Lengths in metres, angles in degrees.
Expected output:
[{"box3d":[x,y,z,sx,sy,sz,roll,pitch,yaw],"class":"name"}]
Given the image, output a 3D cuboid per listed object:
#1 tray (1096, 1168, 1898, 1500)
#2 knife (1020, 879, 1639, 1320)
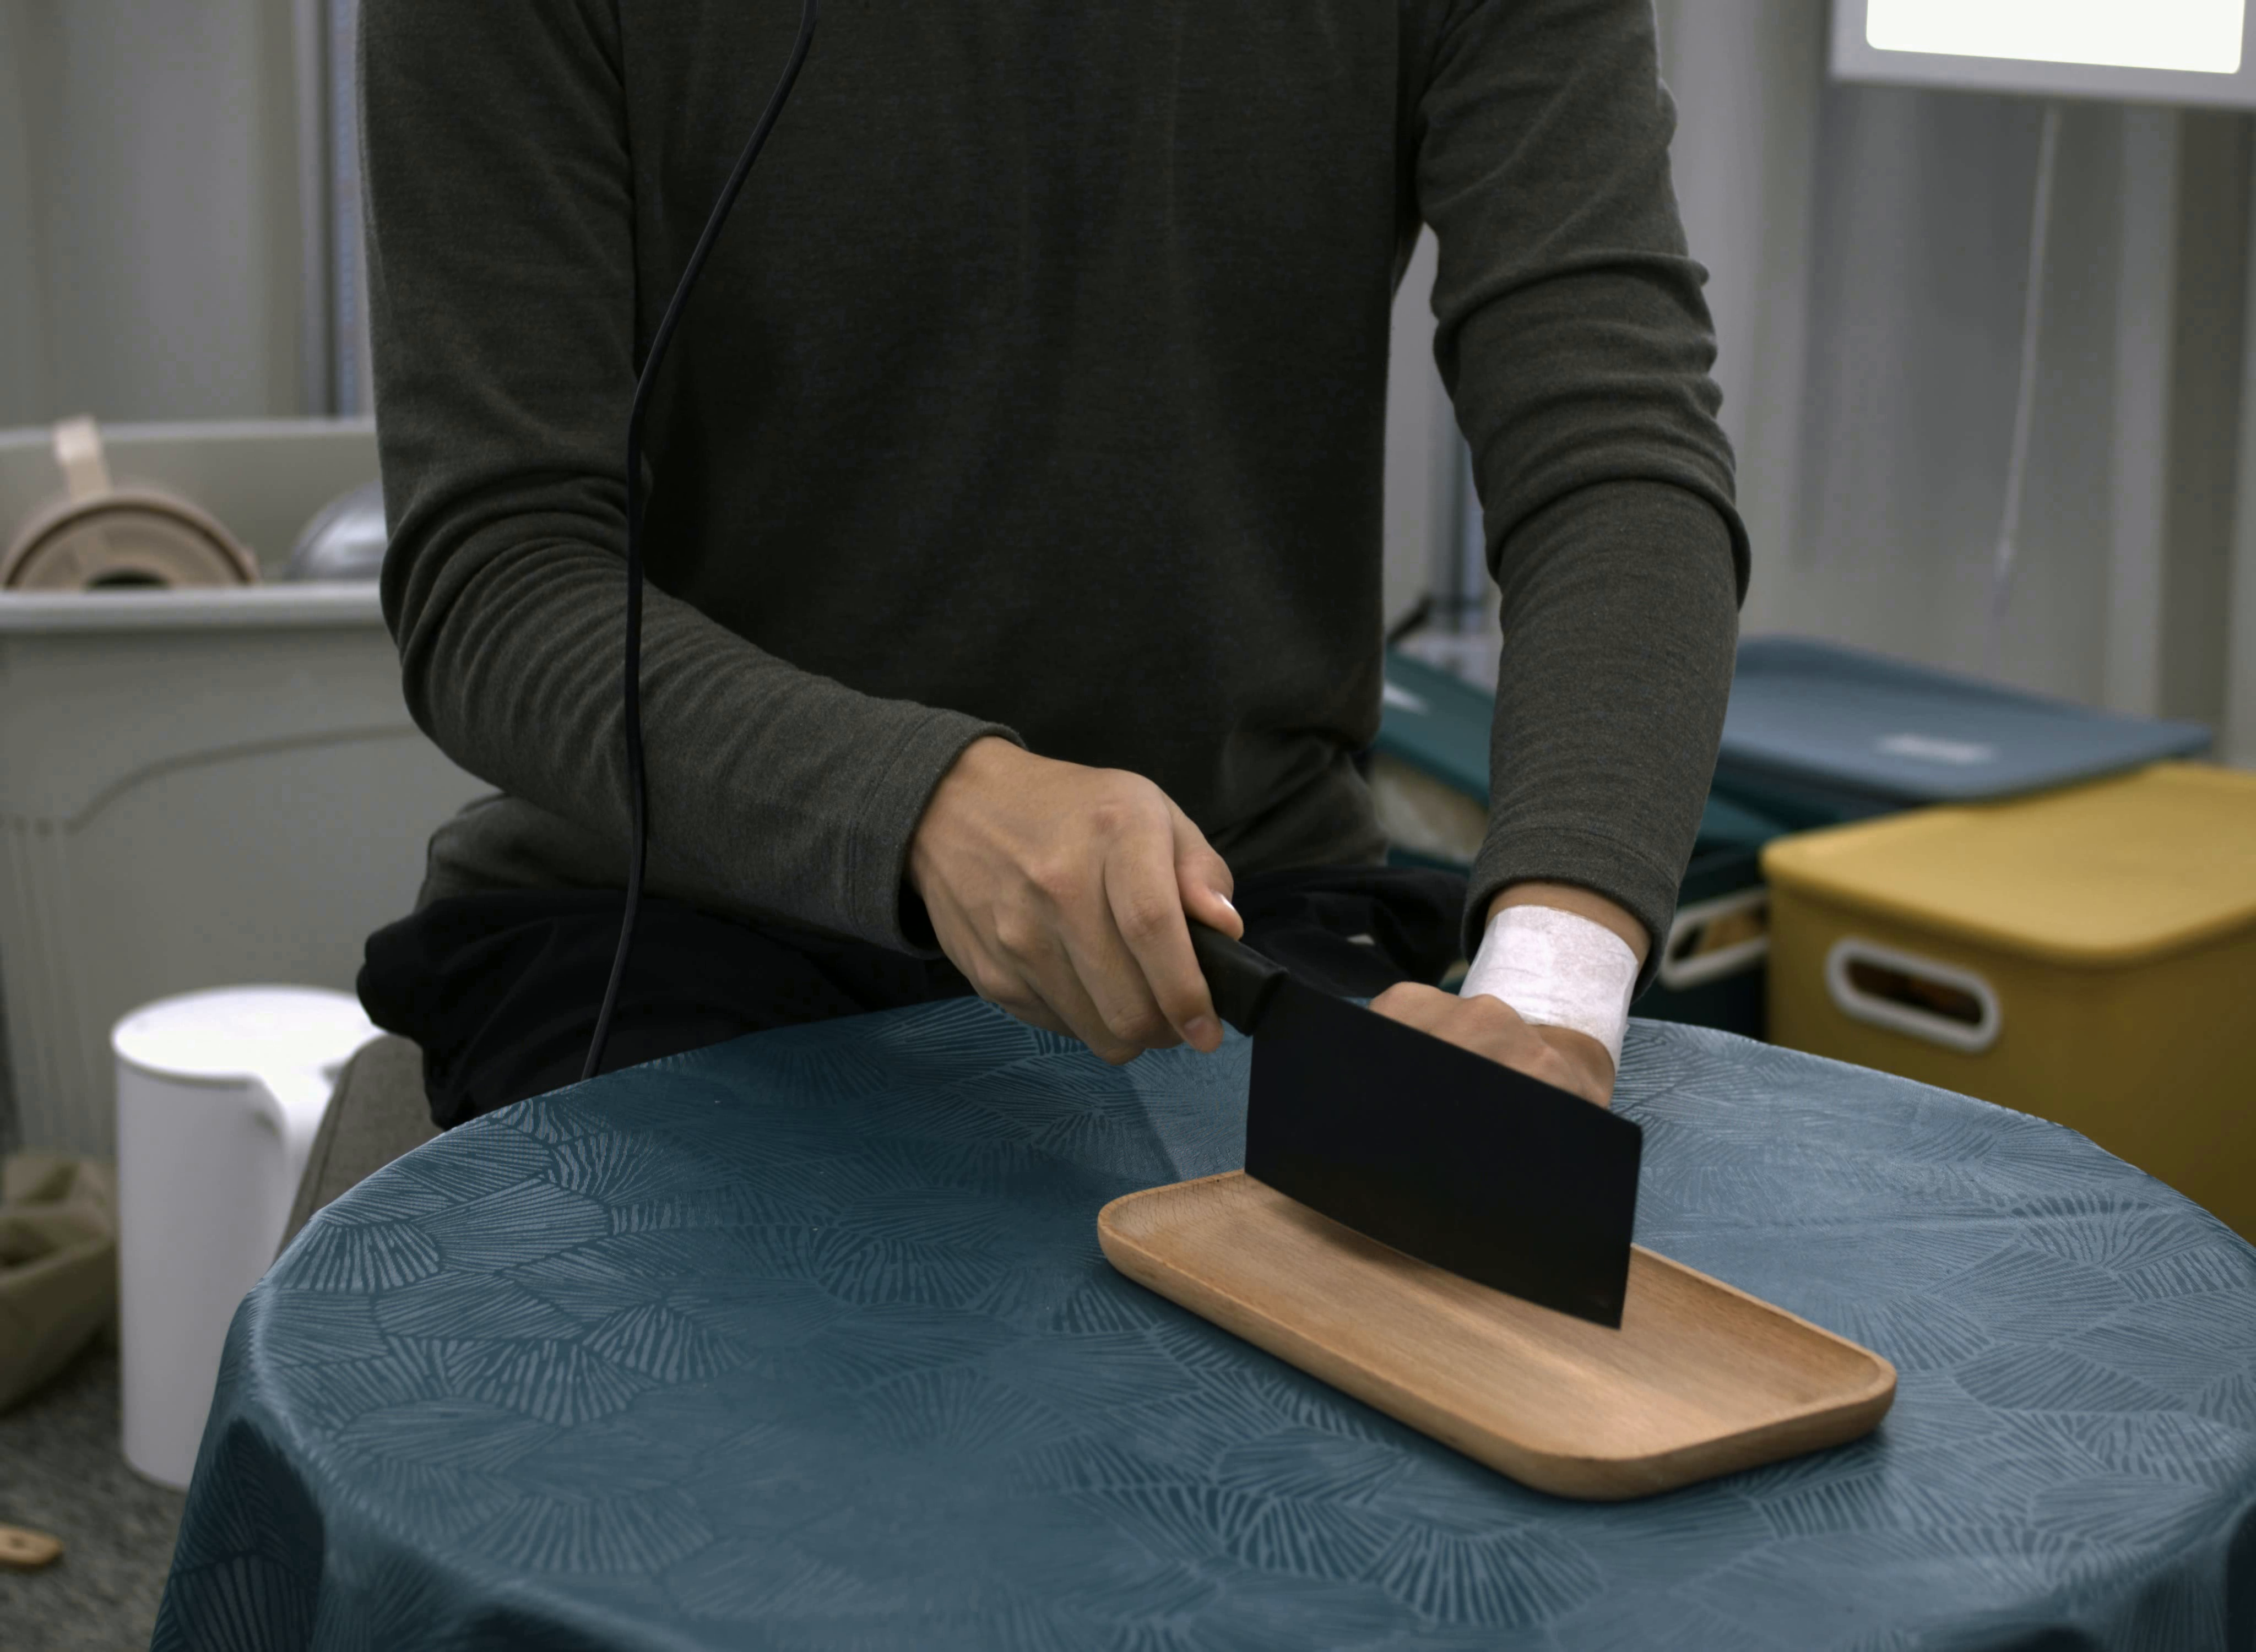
[{"box3d":[0.100,0.139,1.504,0.131,0.023,0.247,-7,15,-32],"class":"tray"},{"box3d":[0.054,0.073,1.549,0.021,0.081,0.298,-3,18,-35],"class":"knife"}]
